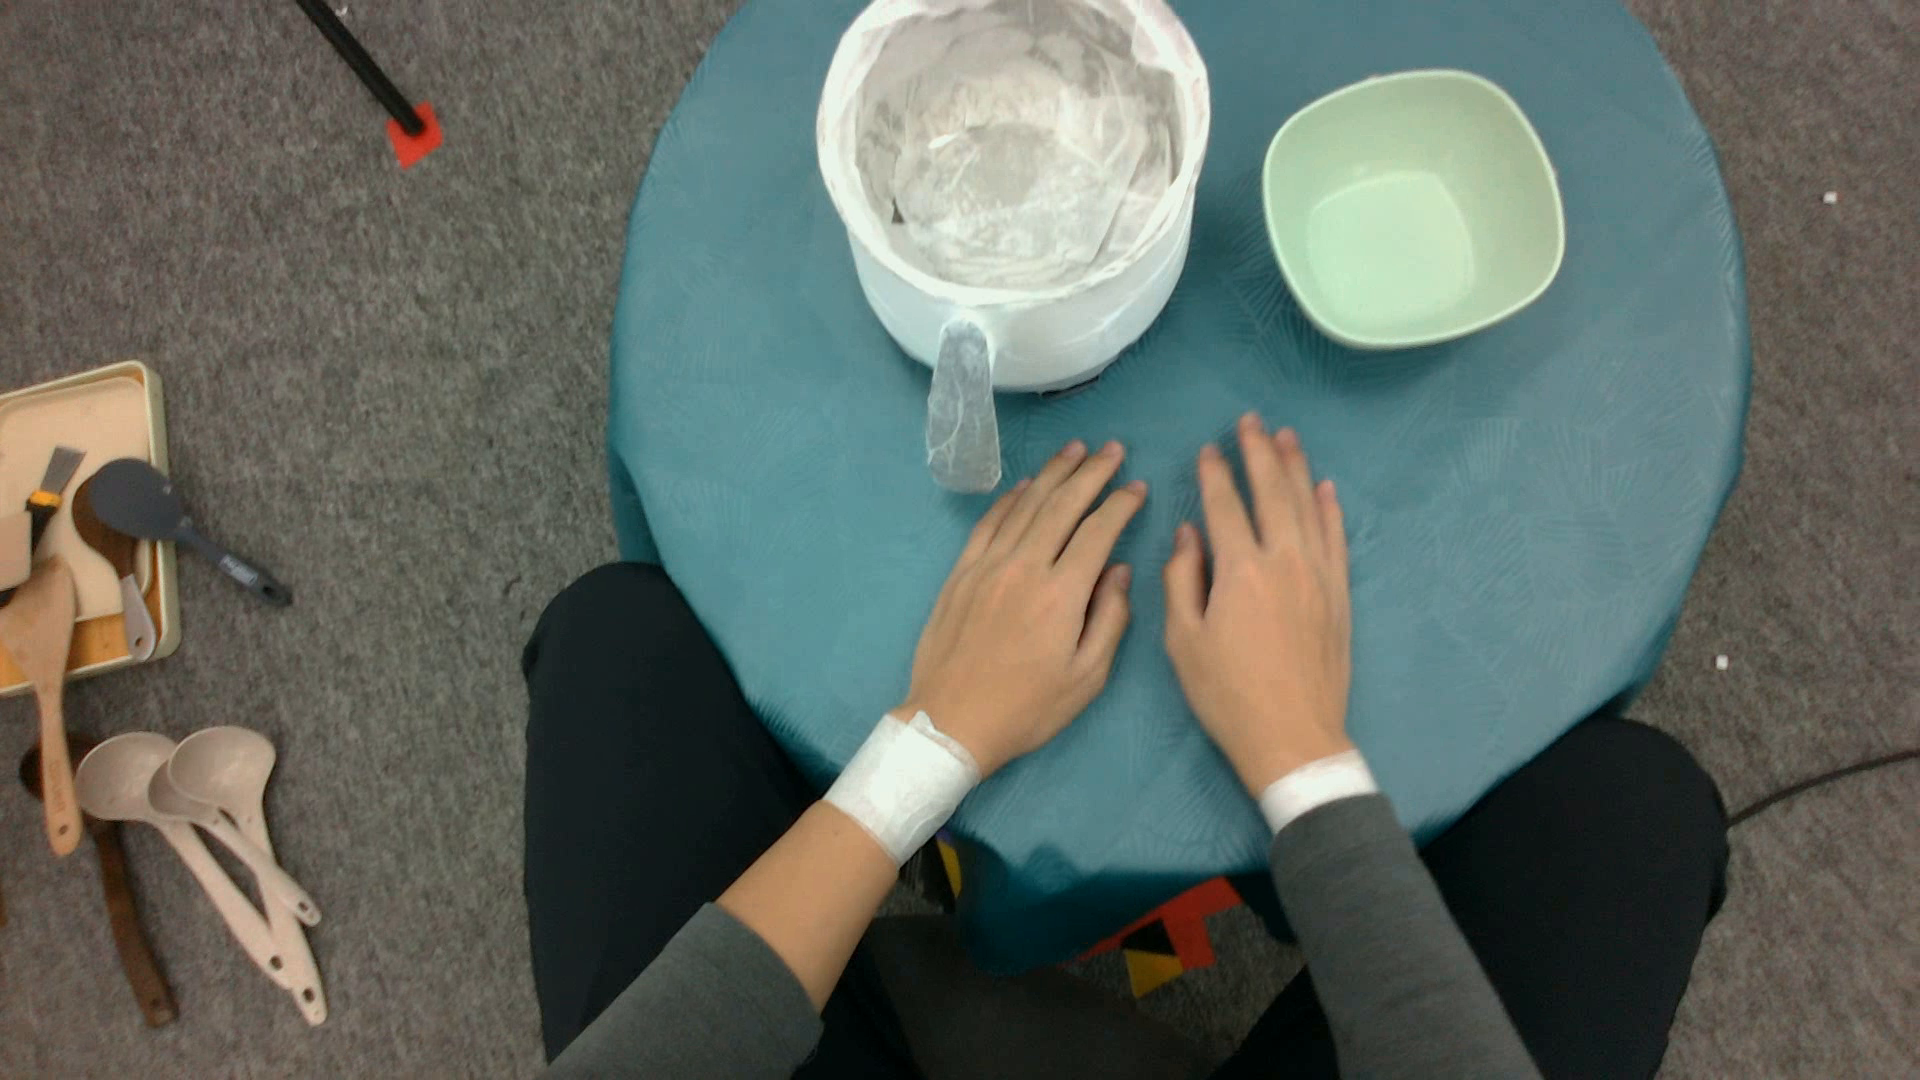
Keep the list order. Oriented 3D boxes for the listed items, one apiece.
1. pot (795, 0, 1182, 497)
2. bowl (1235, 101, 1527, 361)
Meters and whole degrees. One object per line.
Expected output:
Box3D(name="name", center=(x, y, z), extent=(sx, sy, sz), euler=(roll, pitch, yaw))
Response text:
Box3D(name="pot", center=(0.011, -0.143, 0.683), extent=(0.178, 0.136, 0.234), euler=(10, 76, 6))
Box3D(name="bowl", center=(0.212, -0.151, 0.715), extent=(0.151, 0.058, 0.152), euler=(-1, 74, 3))
